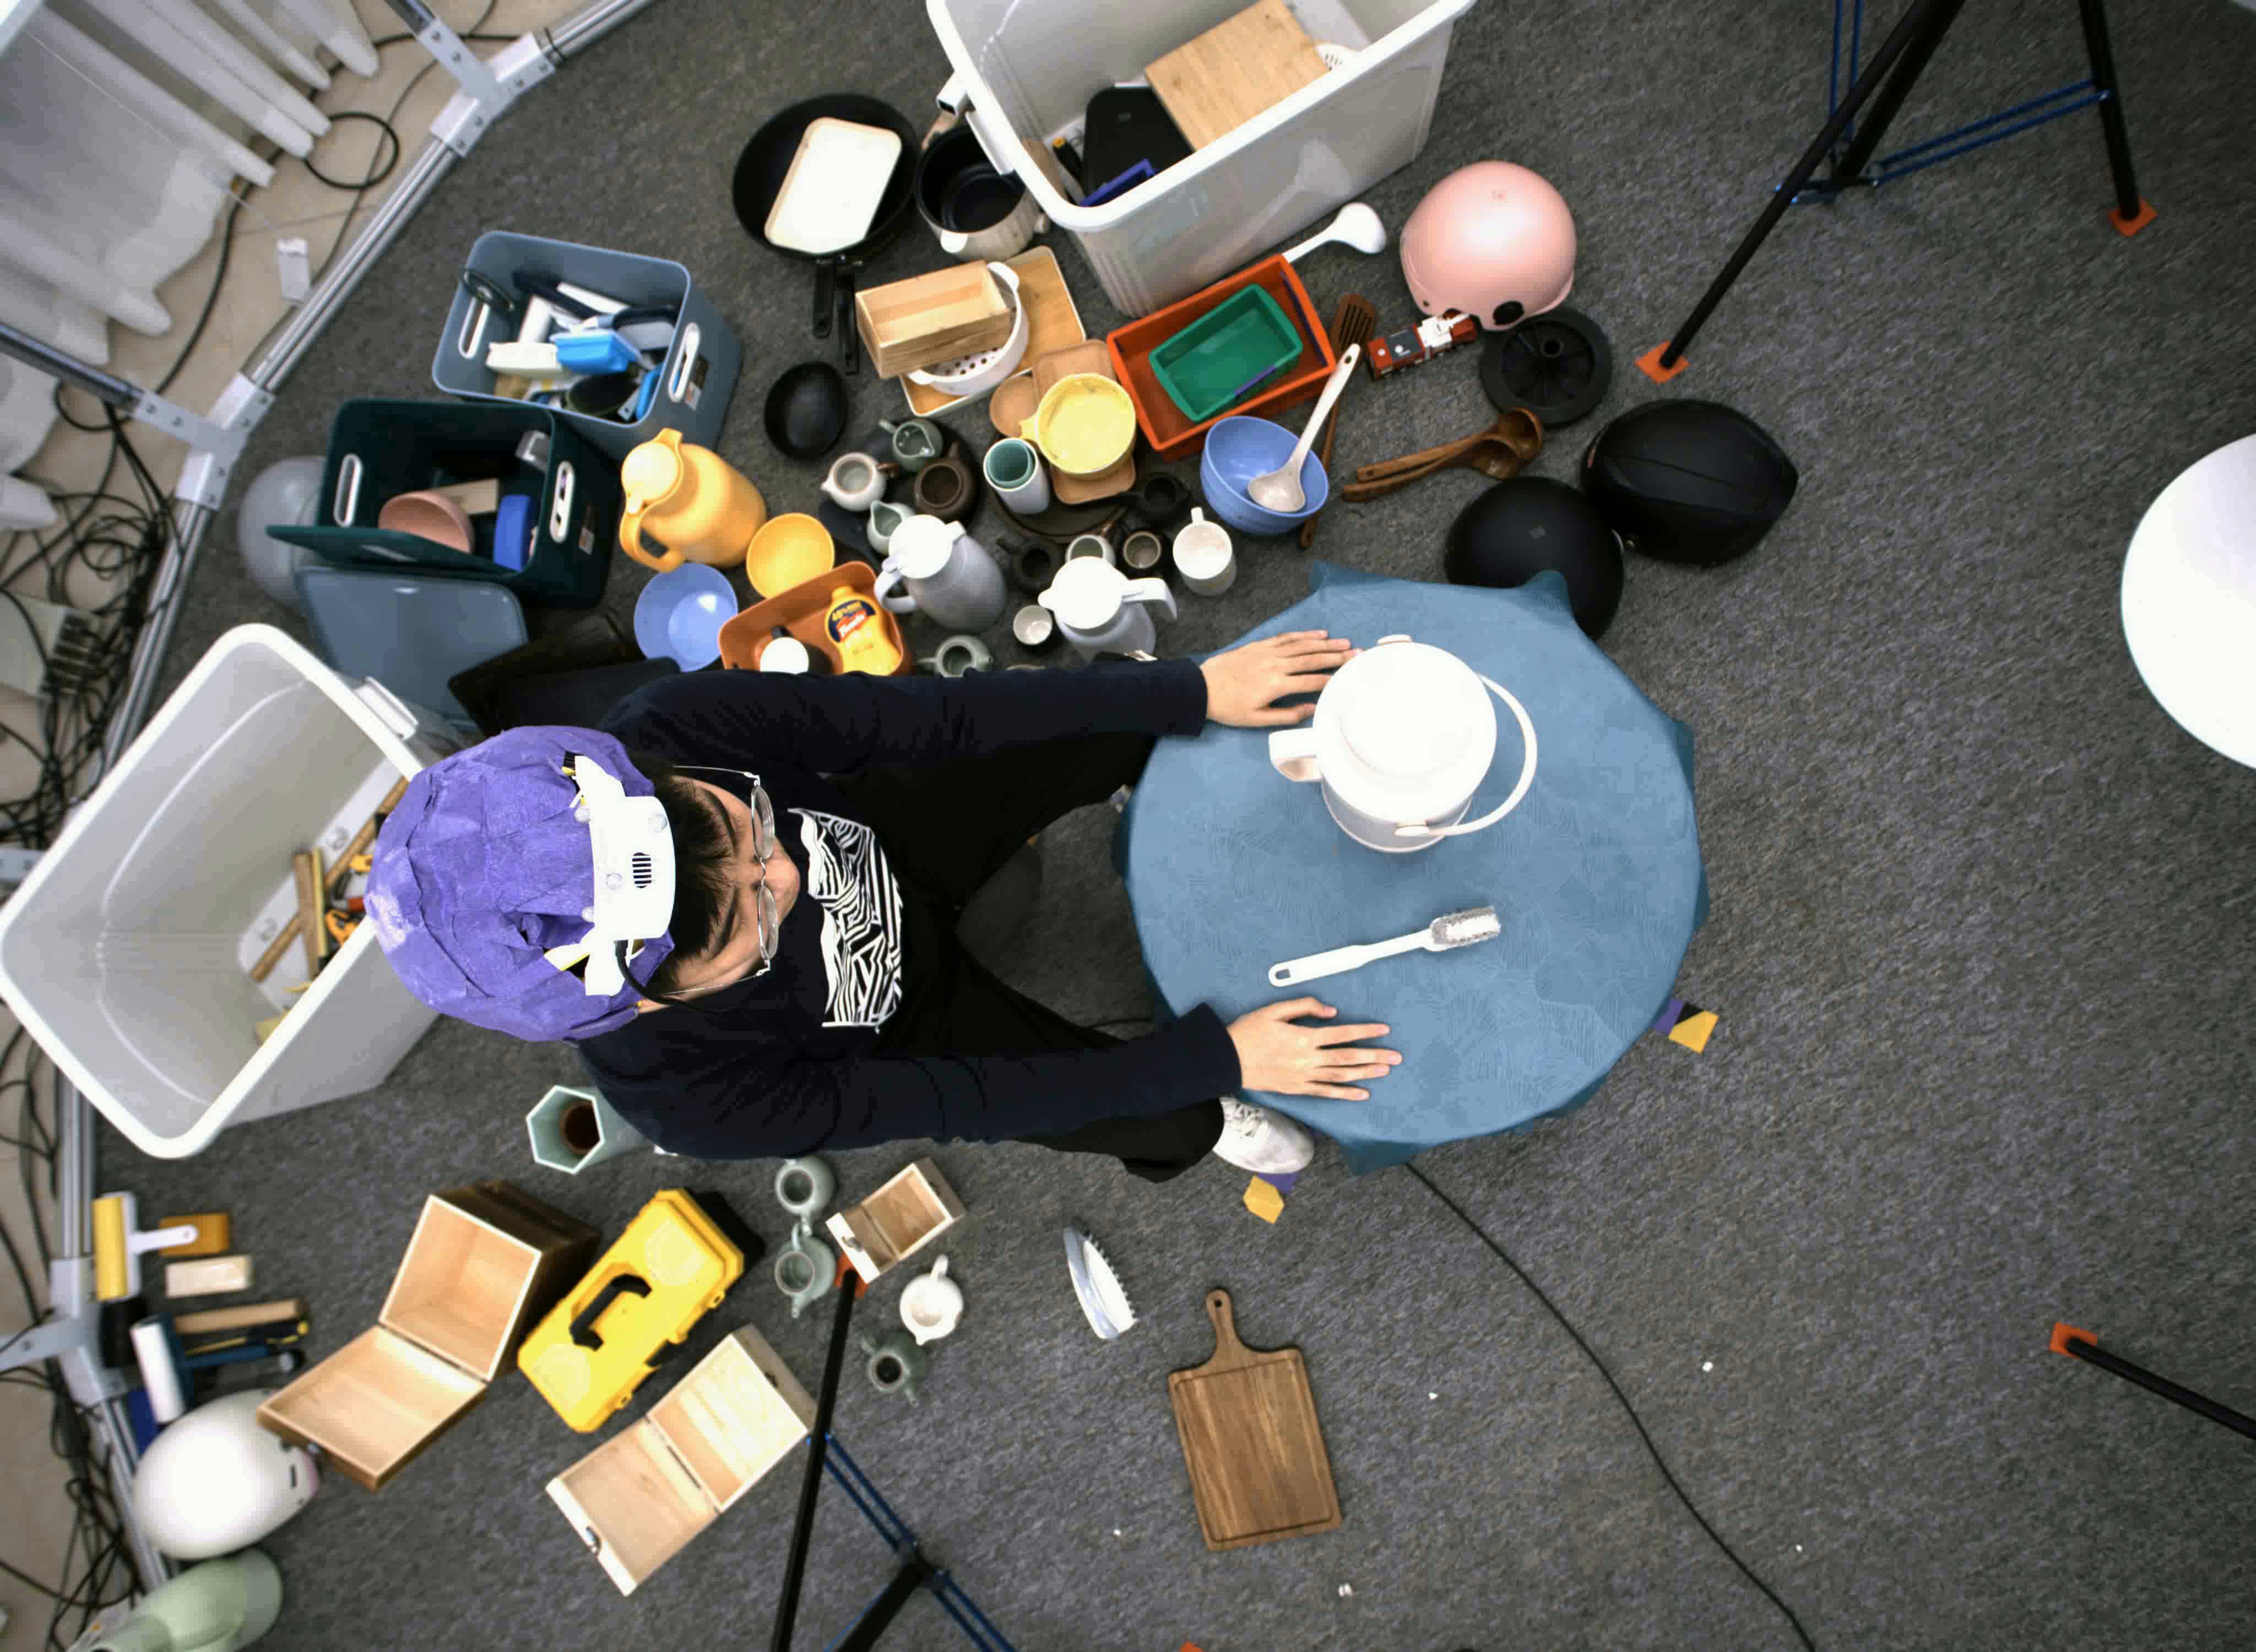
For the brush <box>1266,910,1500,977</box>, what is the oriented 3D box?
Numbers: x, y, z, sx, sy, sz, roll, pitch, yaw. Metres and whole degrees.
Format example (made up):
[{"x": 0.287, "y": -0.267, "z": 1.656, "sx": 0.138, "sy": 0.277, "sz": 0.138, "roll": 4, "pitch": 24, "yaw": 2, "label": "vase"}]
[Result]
[{"x": 0.261, "y": 0.124, "z": 1.433, "sx": 0.245, "sy": 0.050, "sz": 0.034, "roll": -12, "pitch": 88, "yaw": 9, "label": "brush"}]

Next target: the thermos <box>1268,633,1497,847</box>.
[{"x": 0.238, "y": -0.074, "z": 1.271, "sx": 0.208, "sy": 0.406, "sz": 0.174, "roll": -6, "pitch": 85, "yaw": 10, "label": "thermos"}]
